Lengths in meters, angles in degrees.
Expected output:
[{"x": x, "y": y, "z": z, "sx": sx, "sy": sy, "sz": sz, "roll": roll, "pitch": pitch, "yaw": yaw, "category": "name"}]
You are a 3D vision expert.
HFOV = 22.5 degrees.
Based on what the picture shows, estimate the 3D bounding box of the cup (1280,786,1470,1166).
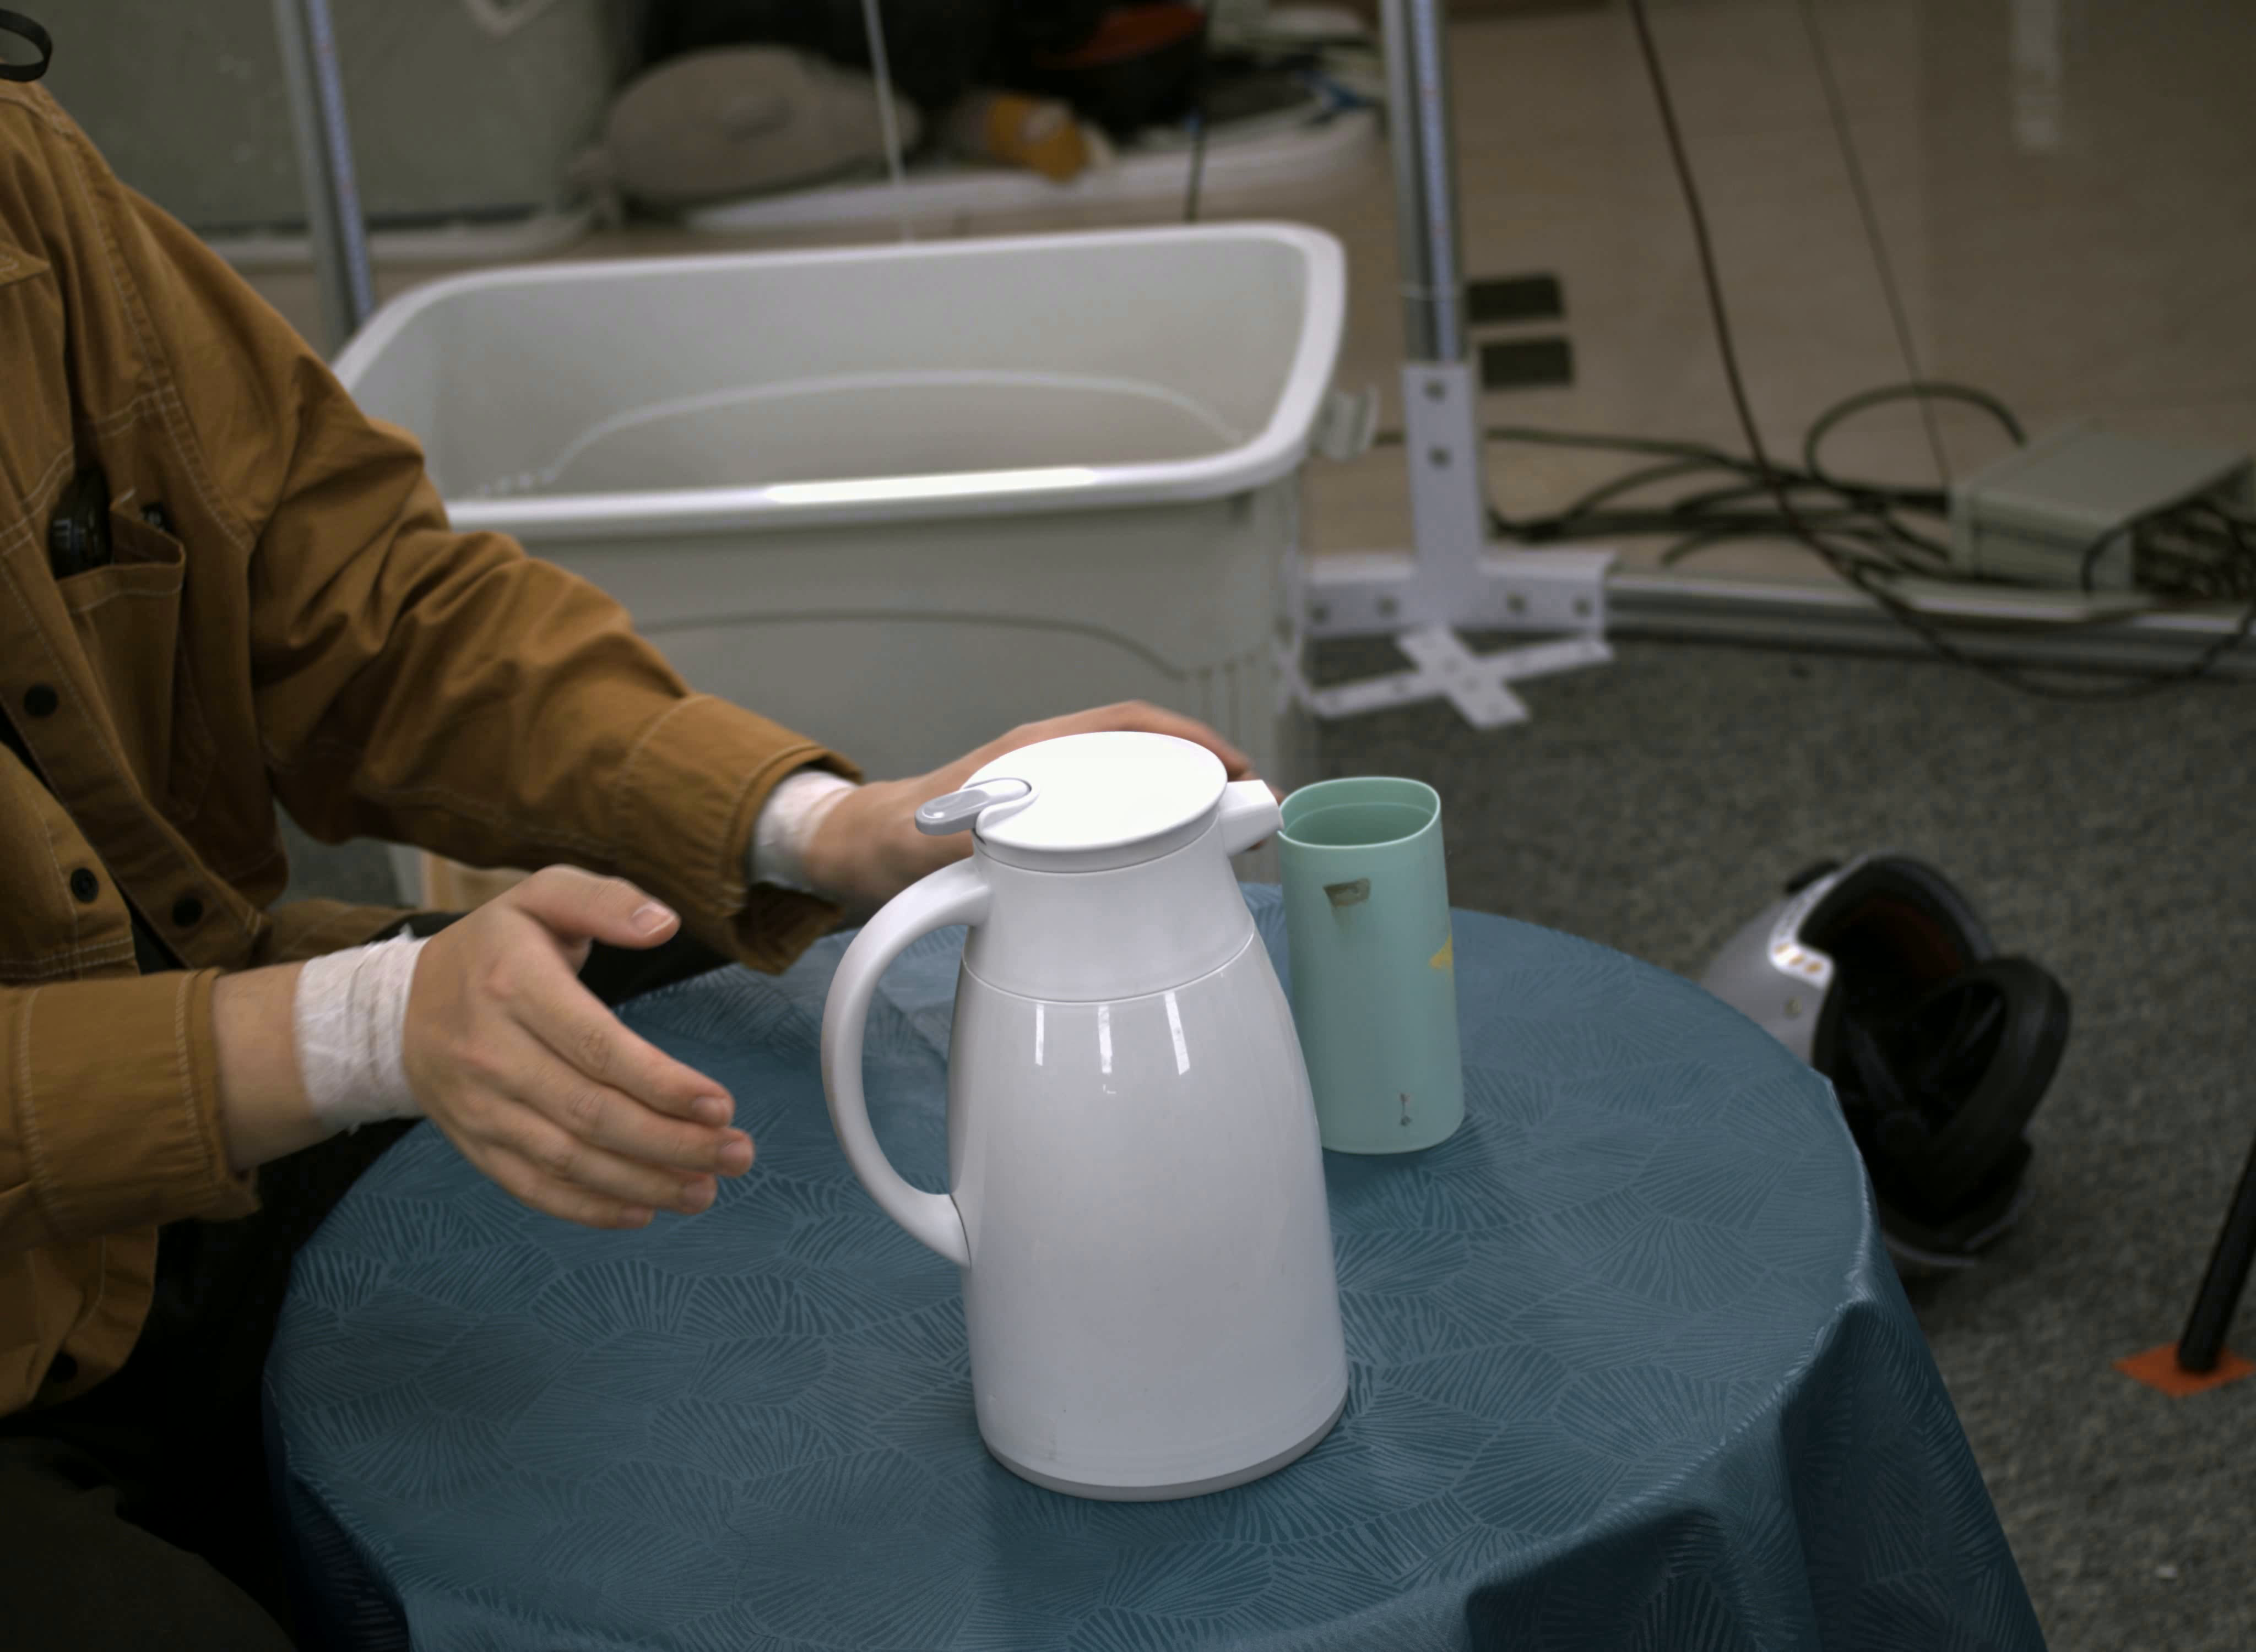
[{"x": 0.093, "y": 0.057, "z": 2.155, "sx": 0.066, "sy": 0.134, "sz": 0.066, "roll": -5, "pitch": 25, "yaw": 2, "category": "cup"}]

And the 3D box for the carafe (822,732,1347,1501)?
[{"x": -0.018, "y": 0.097, "z": 1.947, "sx": 0.167, "sy": 0.252, "sz": 0.130, "roll": -12, "pitch": 27, "yaw": -11, "category": "carafe"}]
